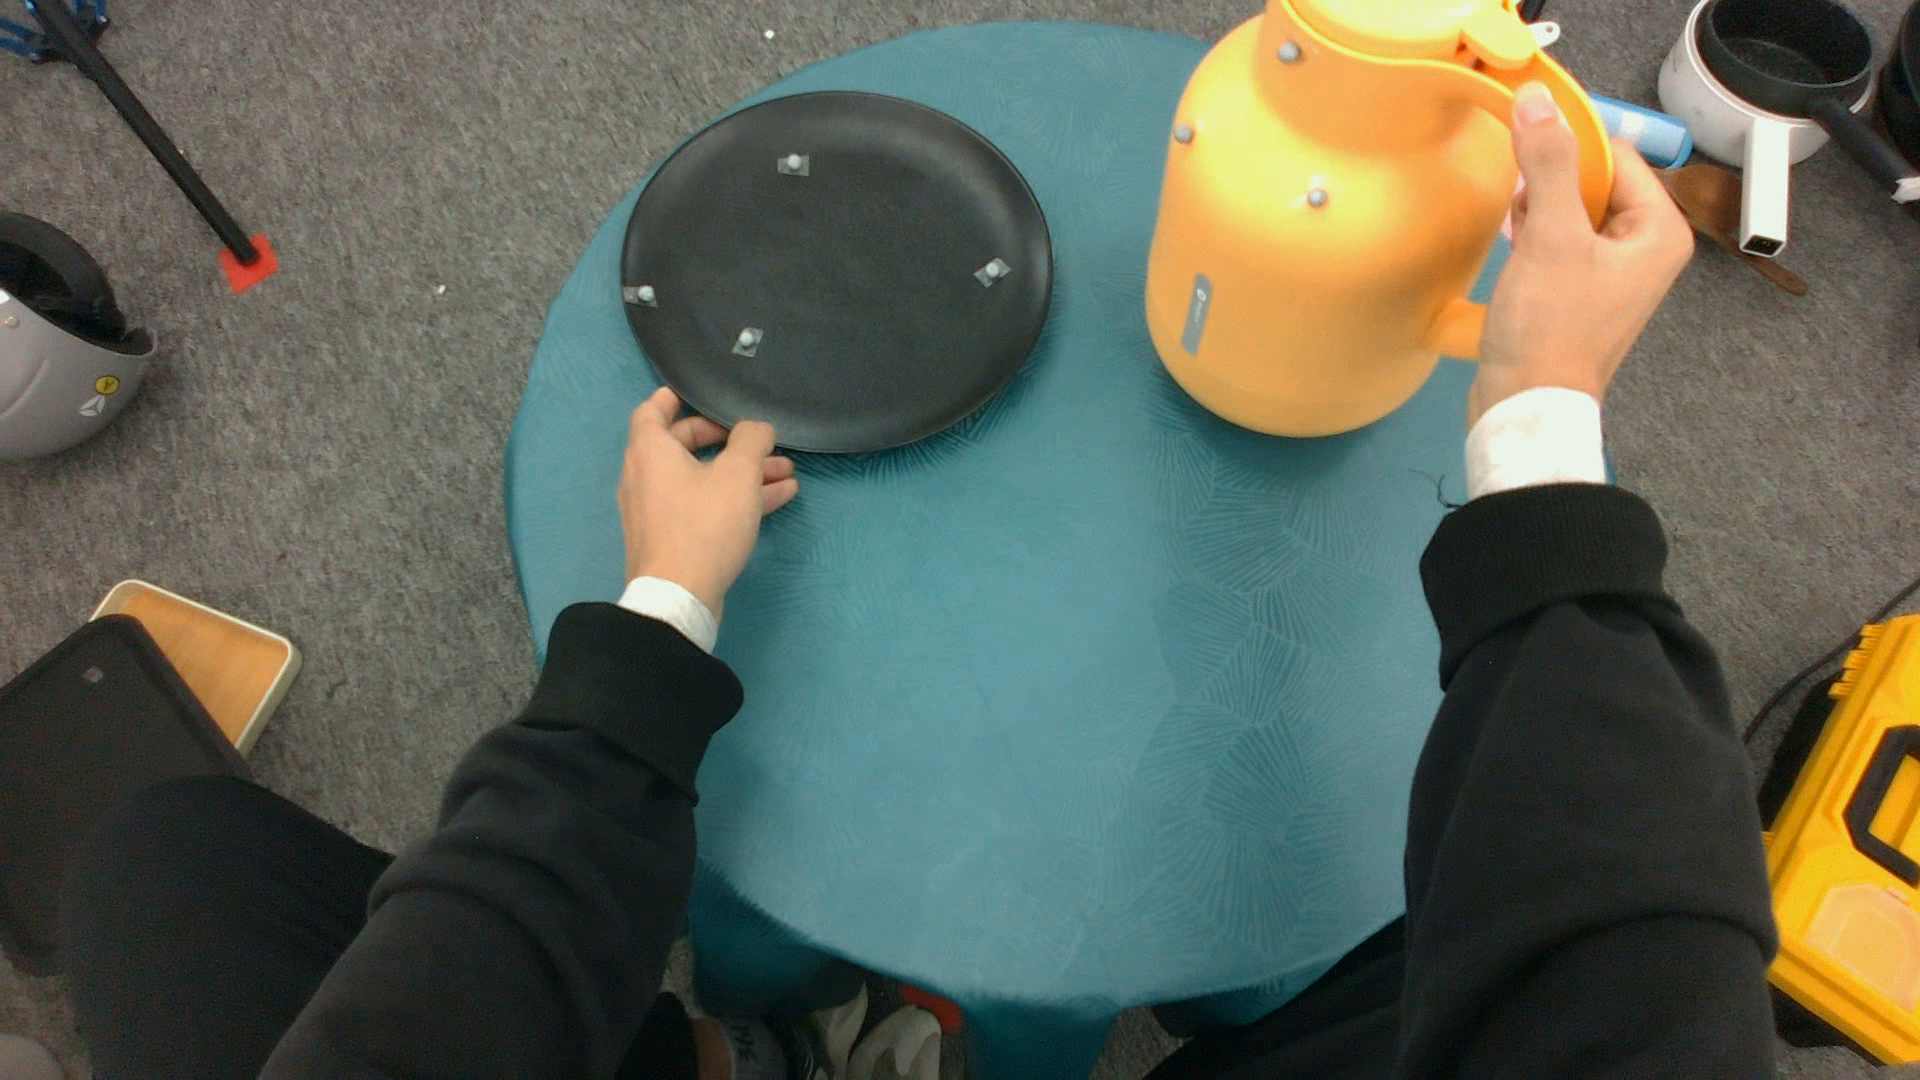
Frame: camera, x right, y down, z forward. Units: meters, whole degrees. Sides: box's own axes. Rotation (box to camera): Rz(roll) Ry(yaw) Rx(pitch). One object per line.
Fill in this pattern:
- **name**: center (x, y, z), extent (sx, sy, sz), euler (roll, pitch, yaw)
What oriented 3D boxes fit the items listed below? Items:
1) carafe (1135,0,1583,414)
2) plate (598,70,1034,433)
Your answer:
- **carafe**: center (0.184, -0.170, 0.661), extent (0.164, 0.259, 0.202), euler (-35, 68, -13)
- **plate**: center (-0.080, -0.164, 0.780), extent (0.244, 0.023, 0.245), euler (1, 66, -2)
